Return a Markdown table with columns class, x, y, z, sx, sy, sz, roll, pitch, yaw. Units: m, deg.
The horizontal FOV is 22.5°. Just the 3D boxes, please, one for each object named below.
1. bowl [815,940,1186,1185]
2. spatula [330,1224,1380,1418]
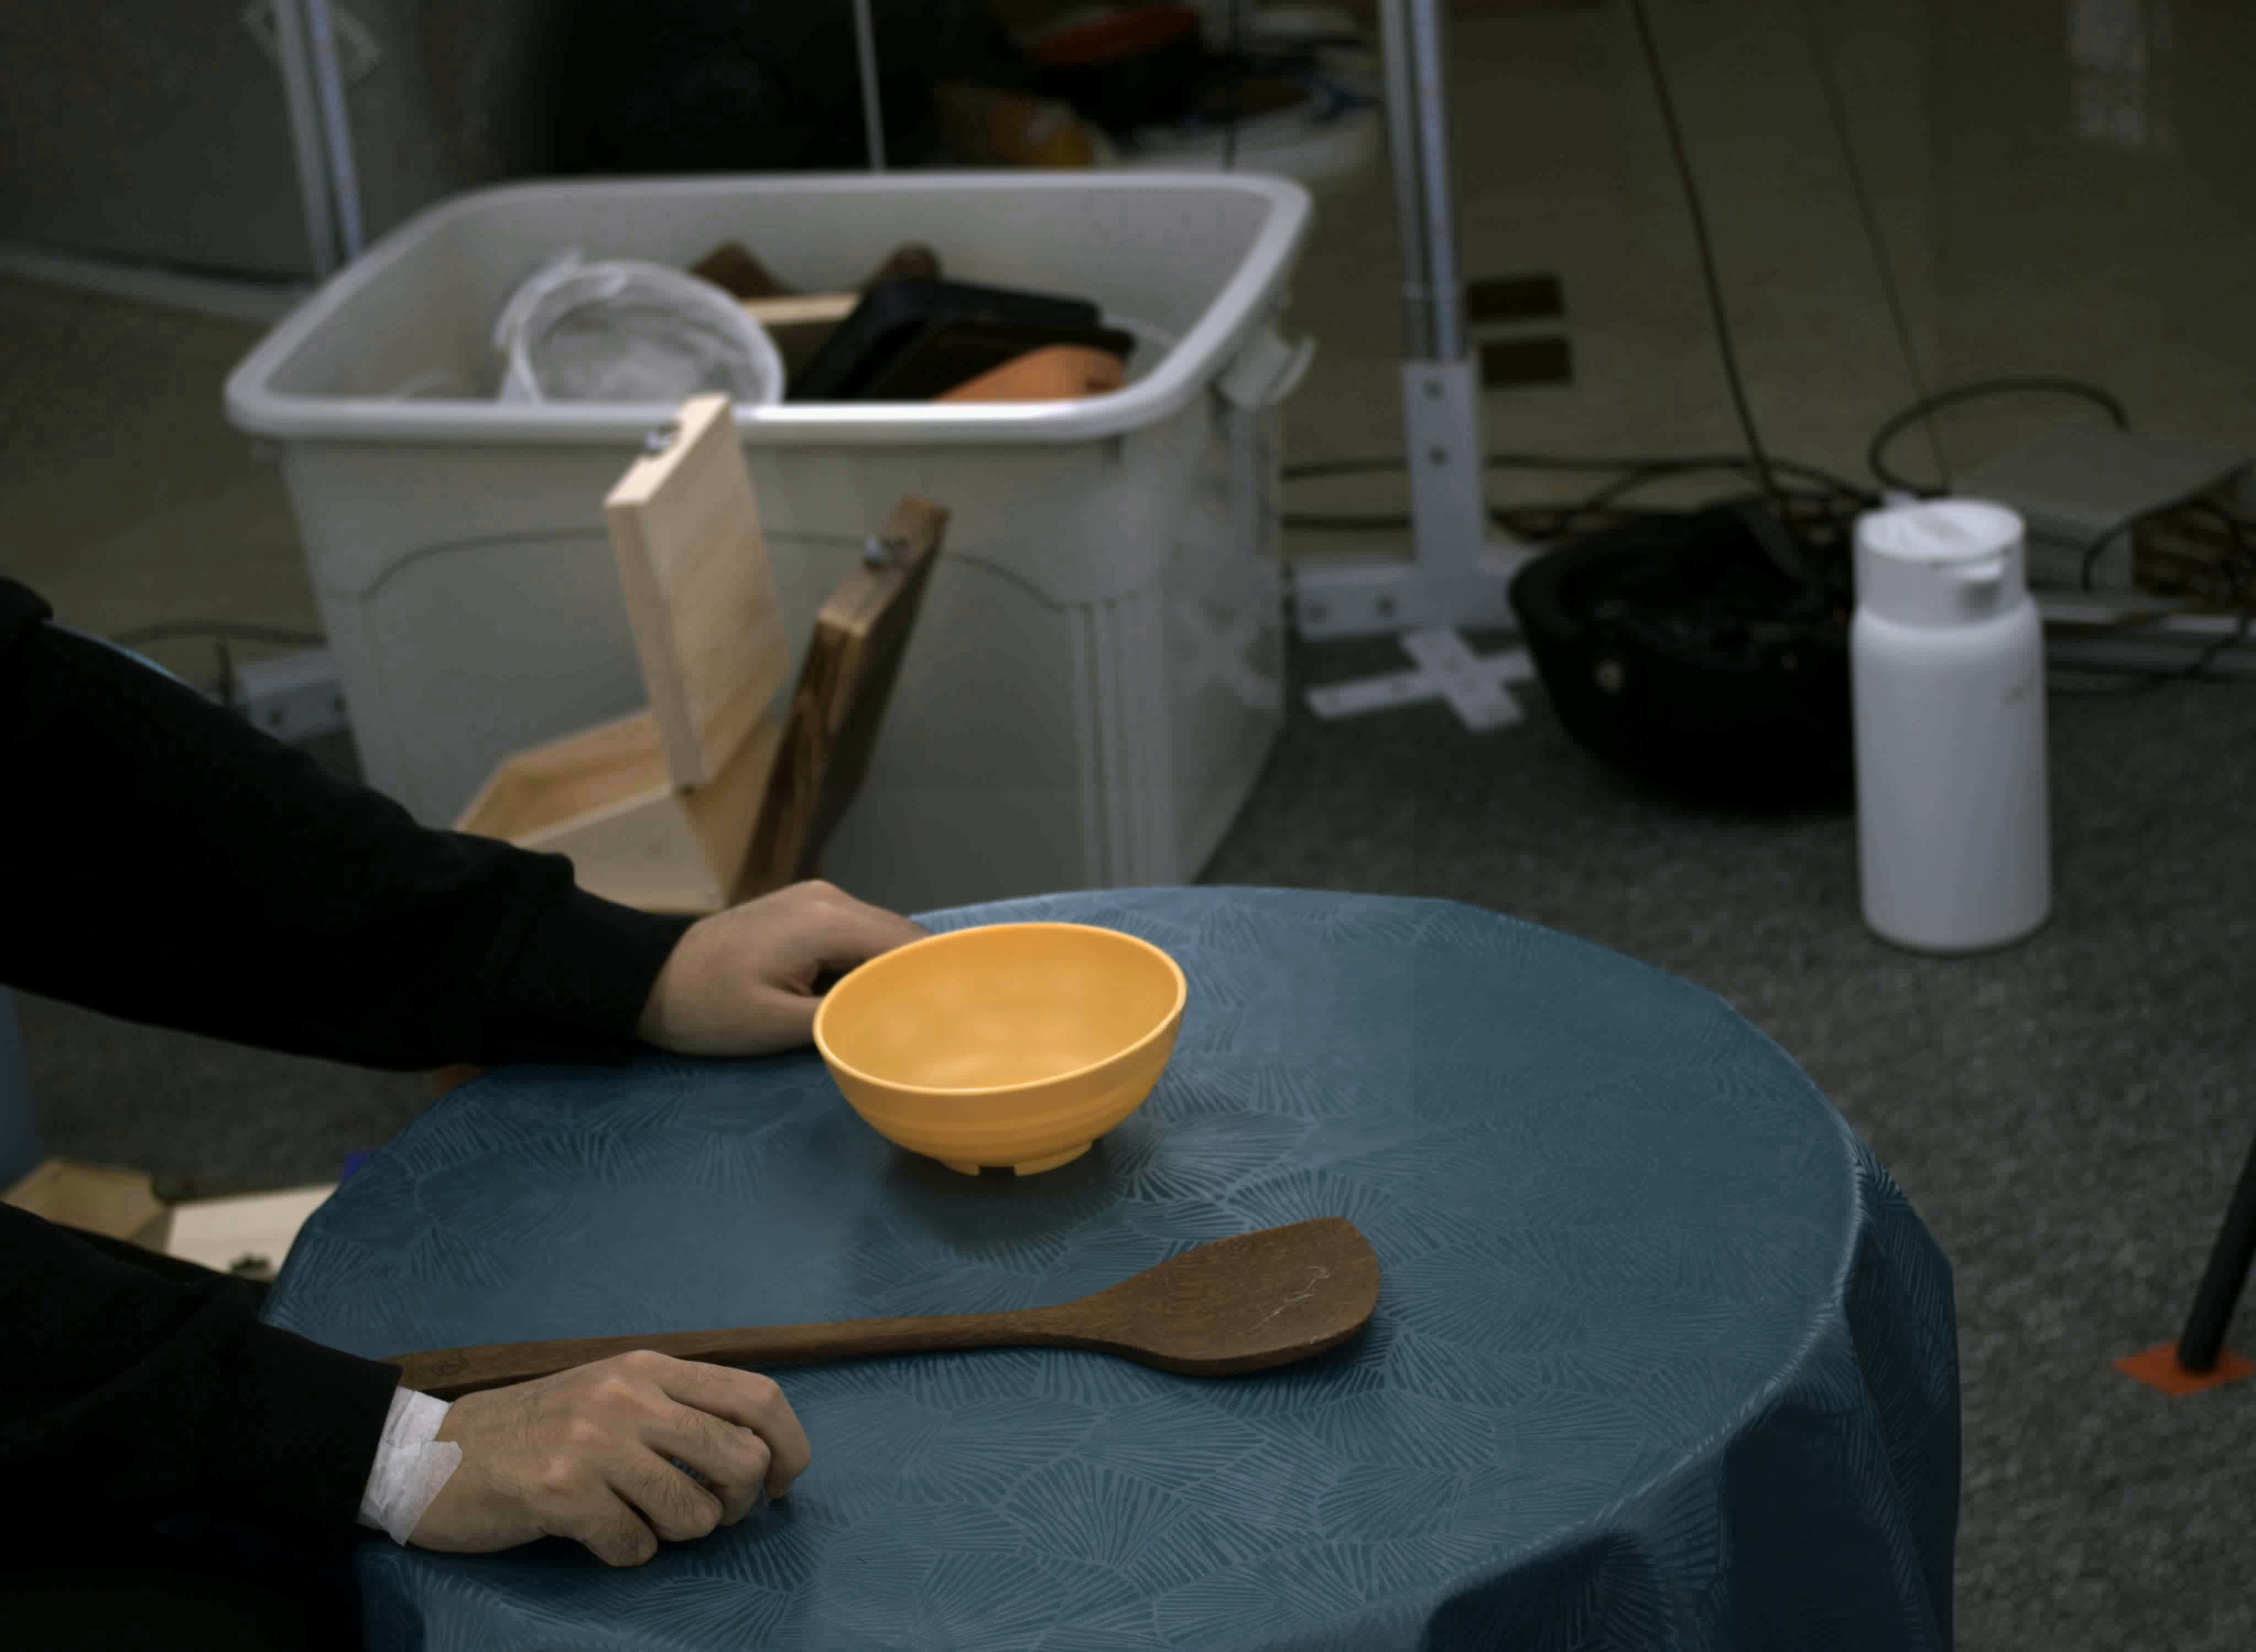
| class | x | y | z | sx | sy | sz | roll | pitch | yaw |
| --- | --- | --- | --- | --- | --- | --- | --- | --- | --- |
| bowl | -0.046 | 0.098 | 2.187 | 0.145 | 0.061 | 0.143 | -6 | 22 | 3 |
| spatula | -0.100 | 0.187 | 2.059 | 0.385 | 0.016 | 0.095 | -6 | 24 | 3 |
